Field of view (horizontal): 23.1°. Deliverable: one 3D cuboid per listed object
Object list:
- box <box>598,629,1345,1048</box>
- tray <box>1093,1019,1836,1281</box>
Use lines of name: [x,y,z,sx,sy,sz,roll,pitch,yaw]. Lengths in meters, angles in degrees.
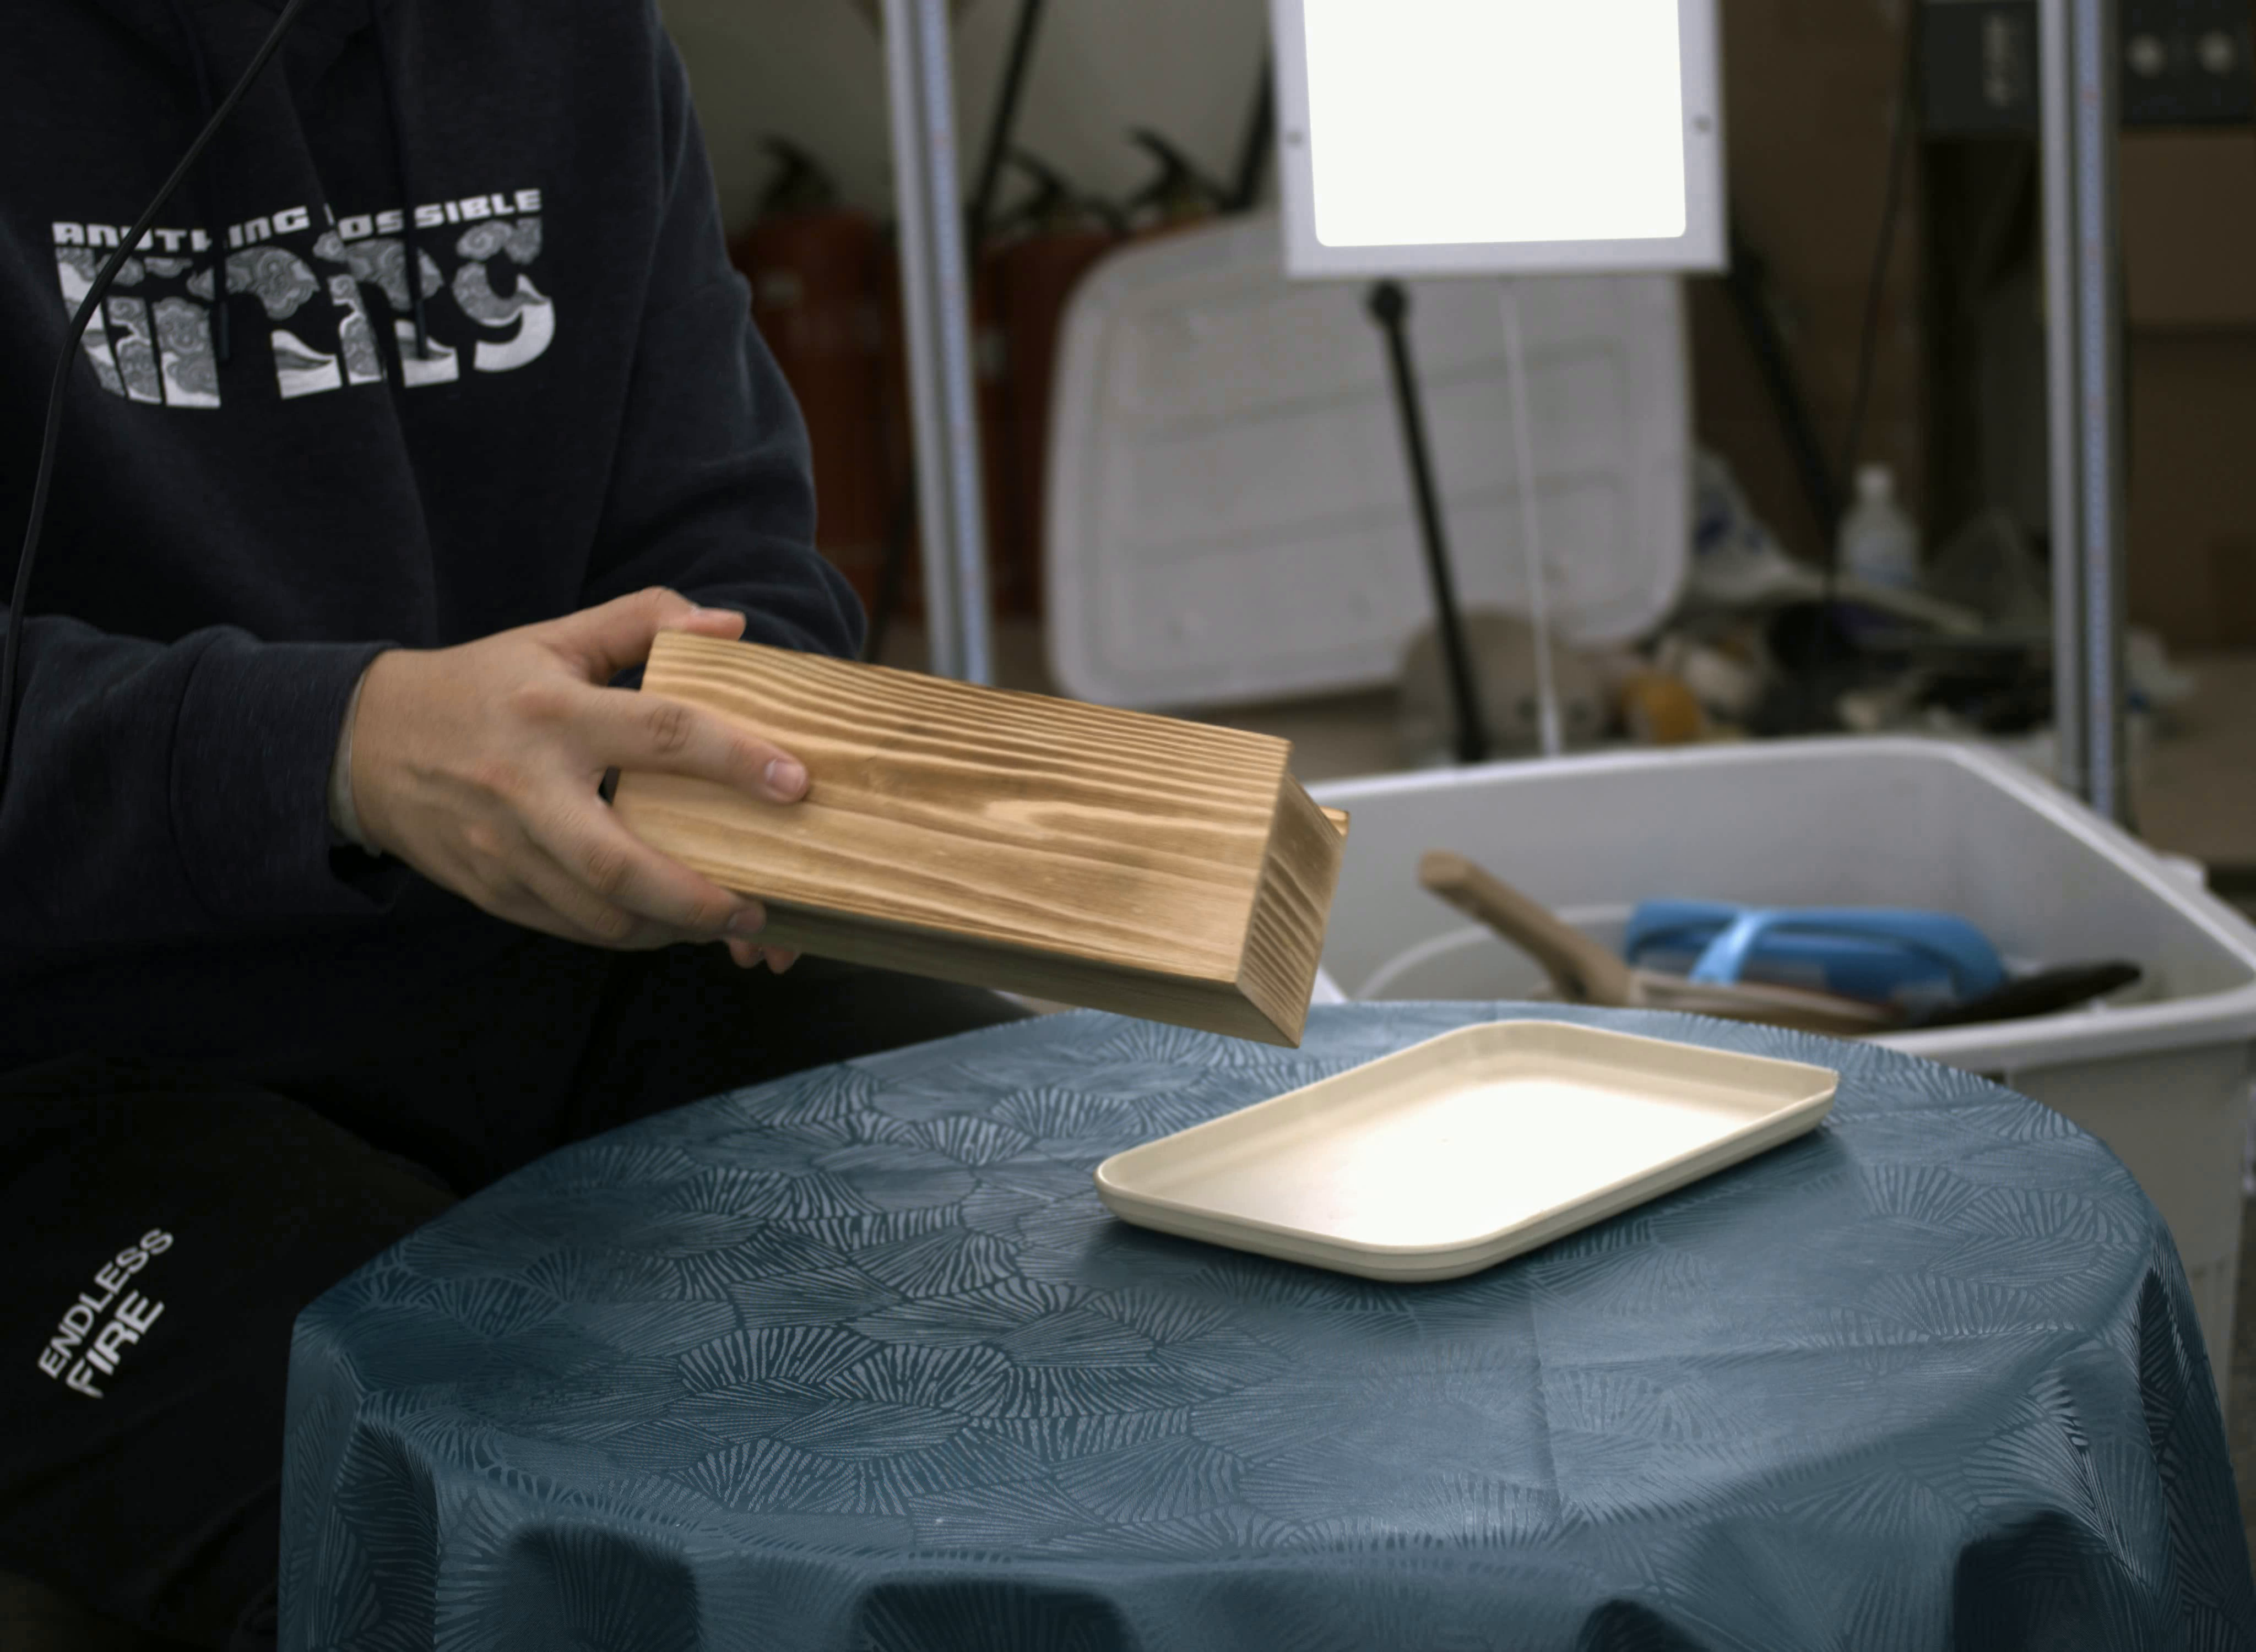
box: [-0.049,0.004,1.756,0.214,0.080,0.106,10,-11,18]
tray: [0.118,0.110,1.887,0.233,0.017,0.175,-18,18,-42]
